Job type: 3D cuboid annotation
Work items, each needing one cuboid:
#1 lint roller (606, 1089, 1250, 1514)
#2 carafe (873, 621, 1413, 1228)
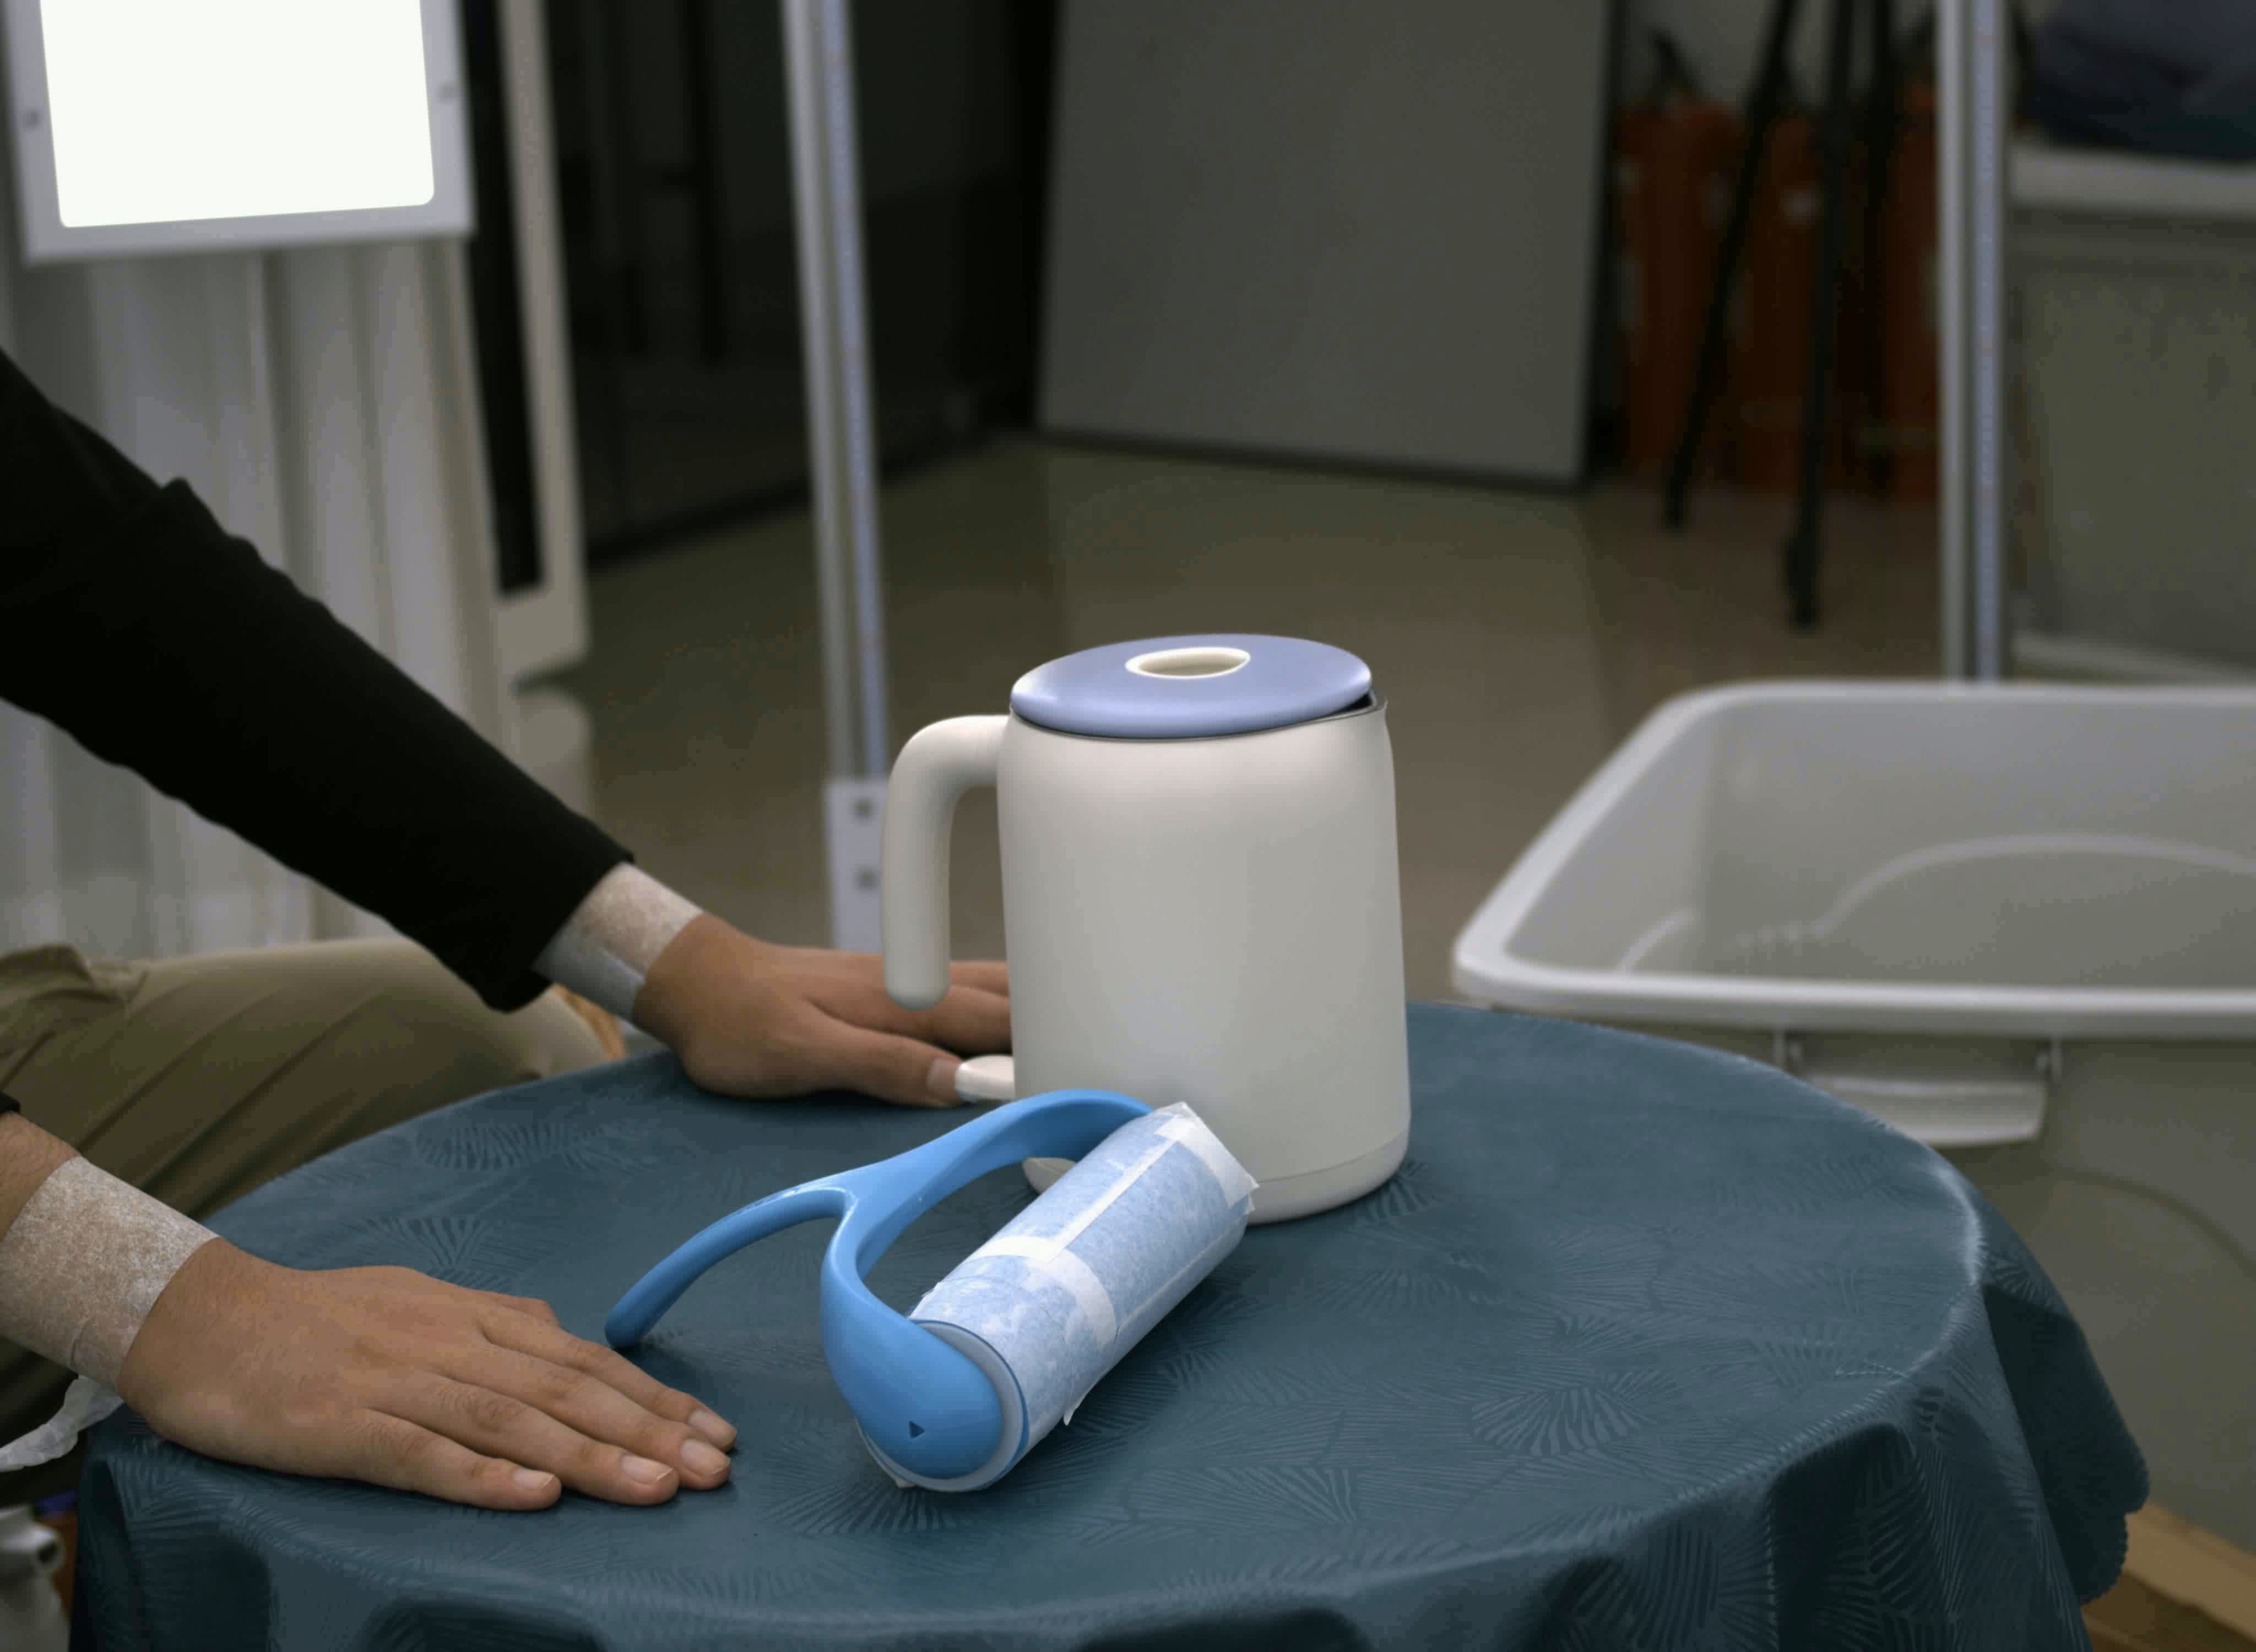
[{"bbox_3d":[-0.075,0.134,1.614,0.180,0.068,0.227,6,19,18],"label":"lint roller"},{"bbox_3d":[0.002,0.031,1.771,0.191,0.184,0.130,0,13,25],"label":"carafe"}]
